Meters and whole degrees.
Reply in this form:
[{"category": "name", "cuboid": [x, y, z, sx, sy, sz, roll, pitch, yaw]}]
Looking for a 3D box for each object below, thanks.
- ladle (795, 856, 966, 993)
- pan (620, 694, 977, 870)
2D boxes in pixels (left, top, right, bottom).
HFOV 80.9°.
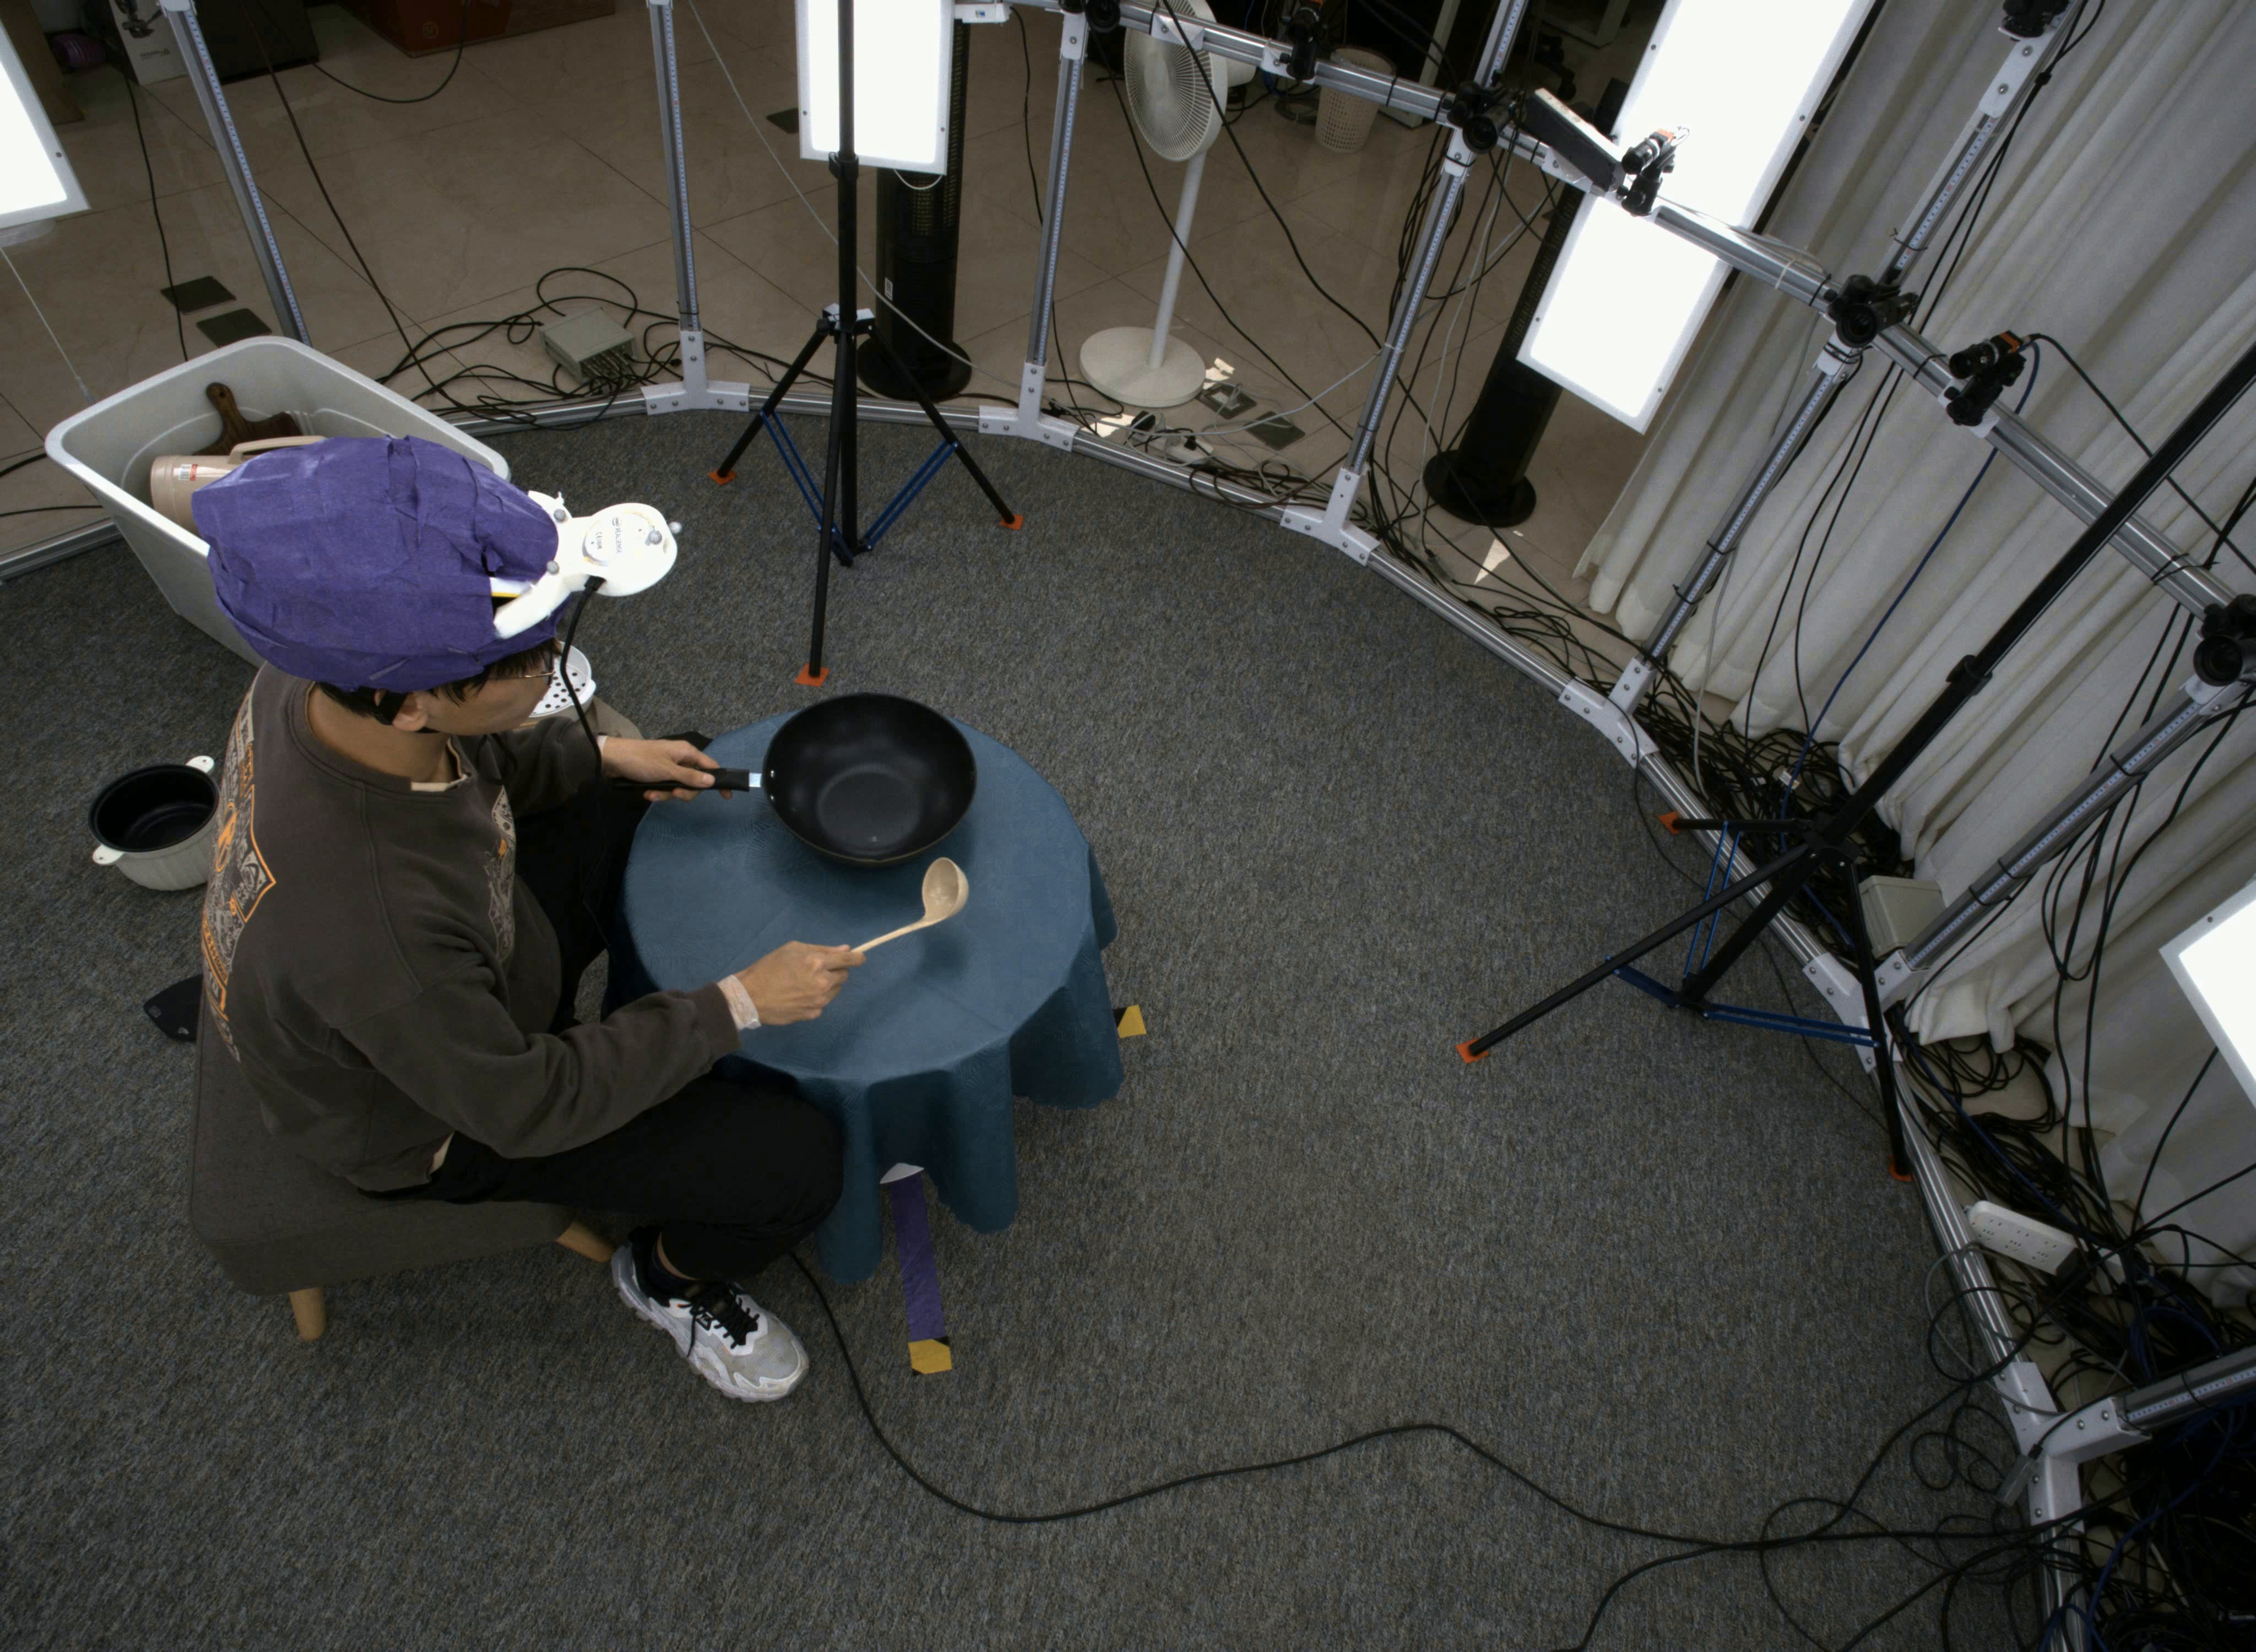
[{"category": "ladle", "cuboid": [-0.300, 0.110, 1.550, 0.069, 0.075, 0.256, 13, 29, 40]}, {"category": "pan", "cuboid": [-0.431, -0.042, 1.715, 0.463, 0.089, 0.282, -3, 55, -14]}]
